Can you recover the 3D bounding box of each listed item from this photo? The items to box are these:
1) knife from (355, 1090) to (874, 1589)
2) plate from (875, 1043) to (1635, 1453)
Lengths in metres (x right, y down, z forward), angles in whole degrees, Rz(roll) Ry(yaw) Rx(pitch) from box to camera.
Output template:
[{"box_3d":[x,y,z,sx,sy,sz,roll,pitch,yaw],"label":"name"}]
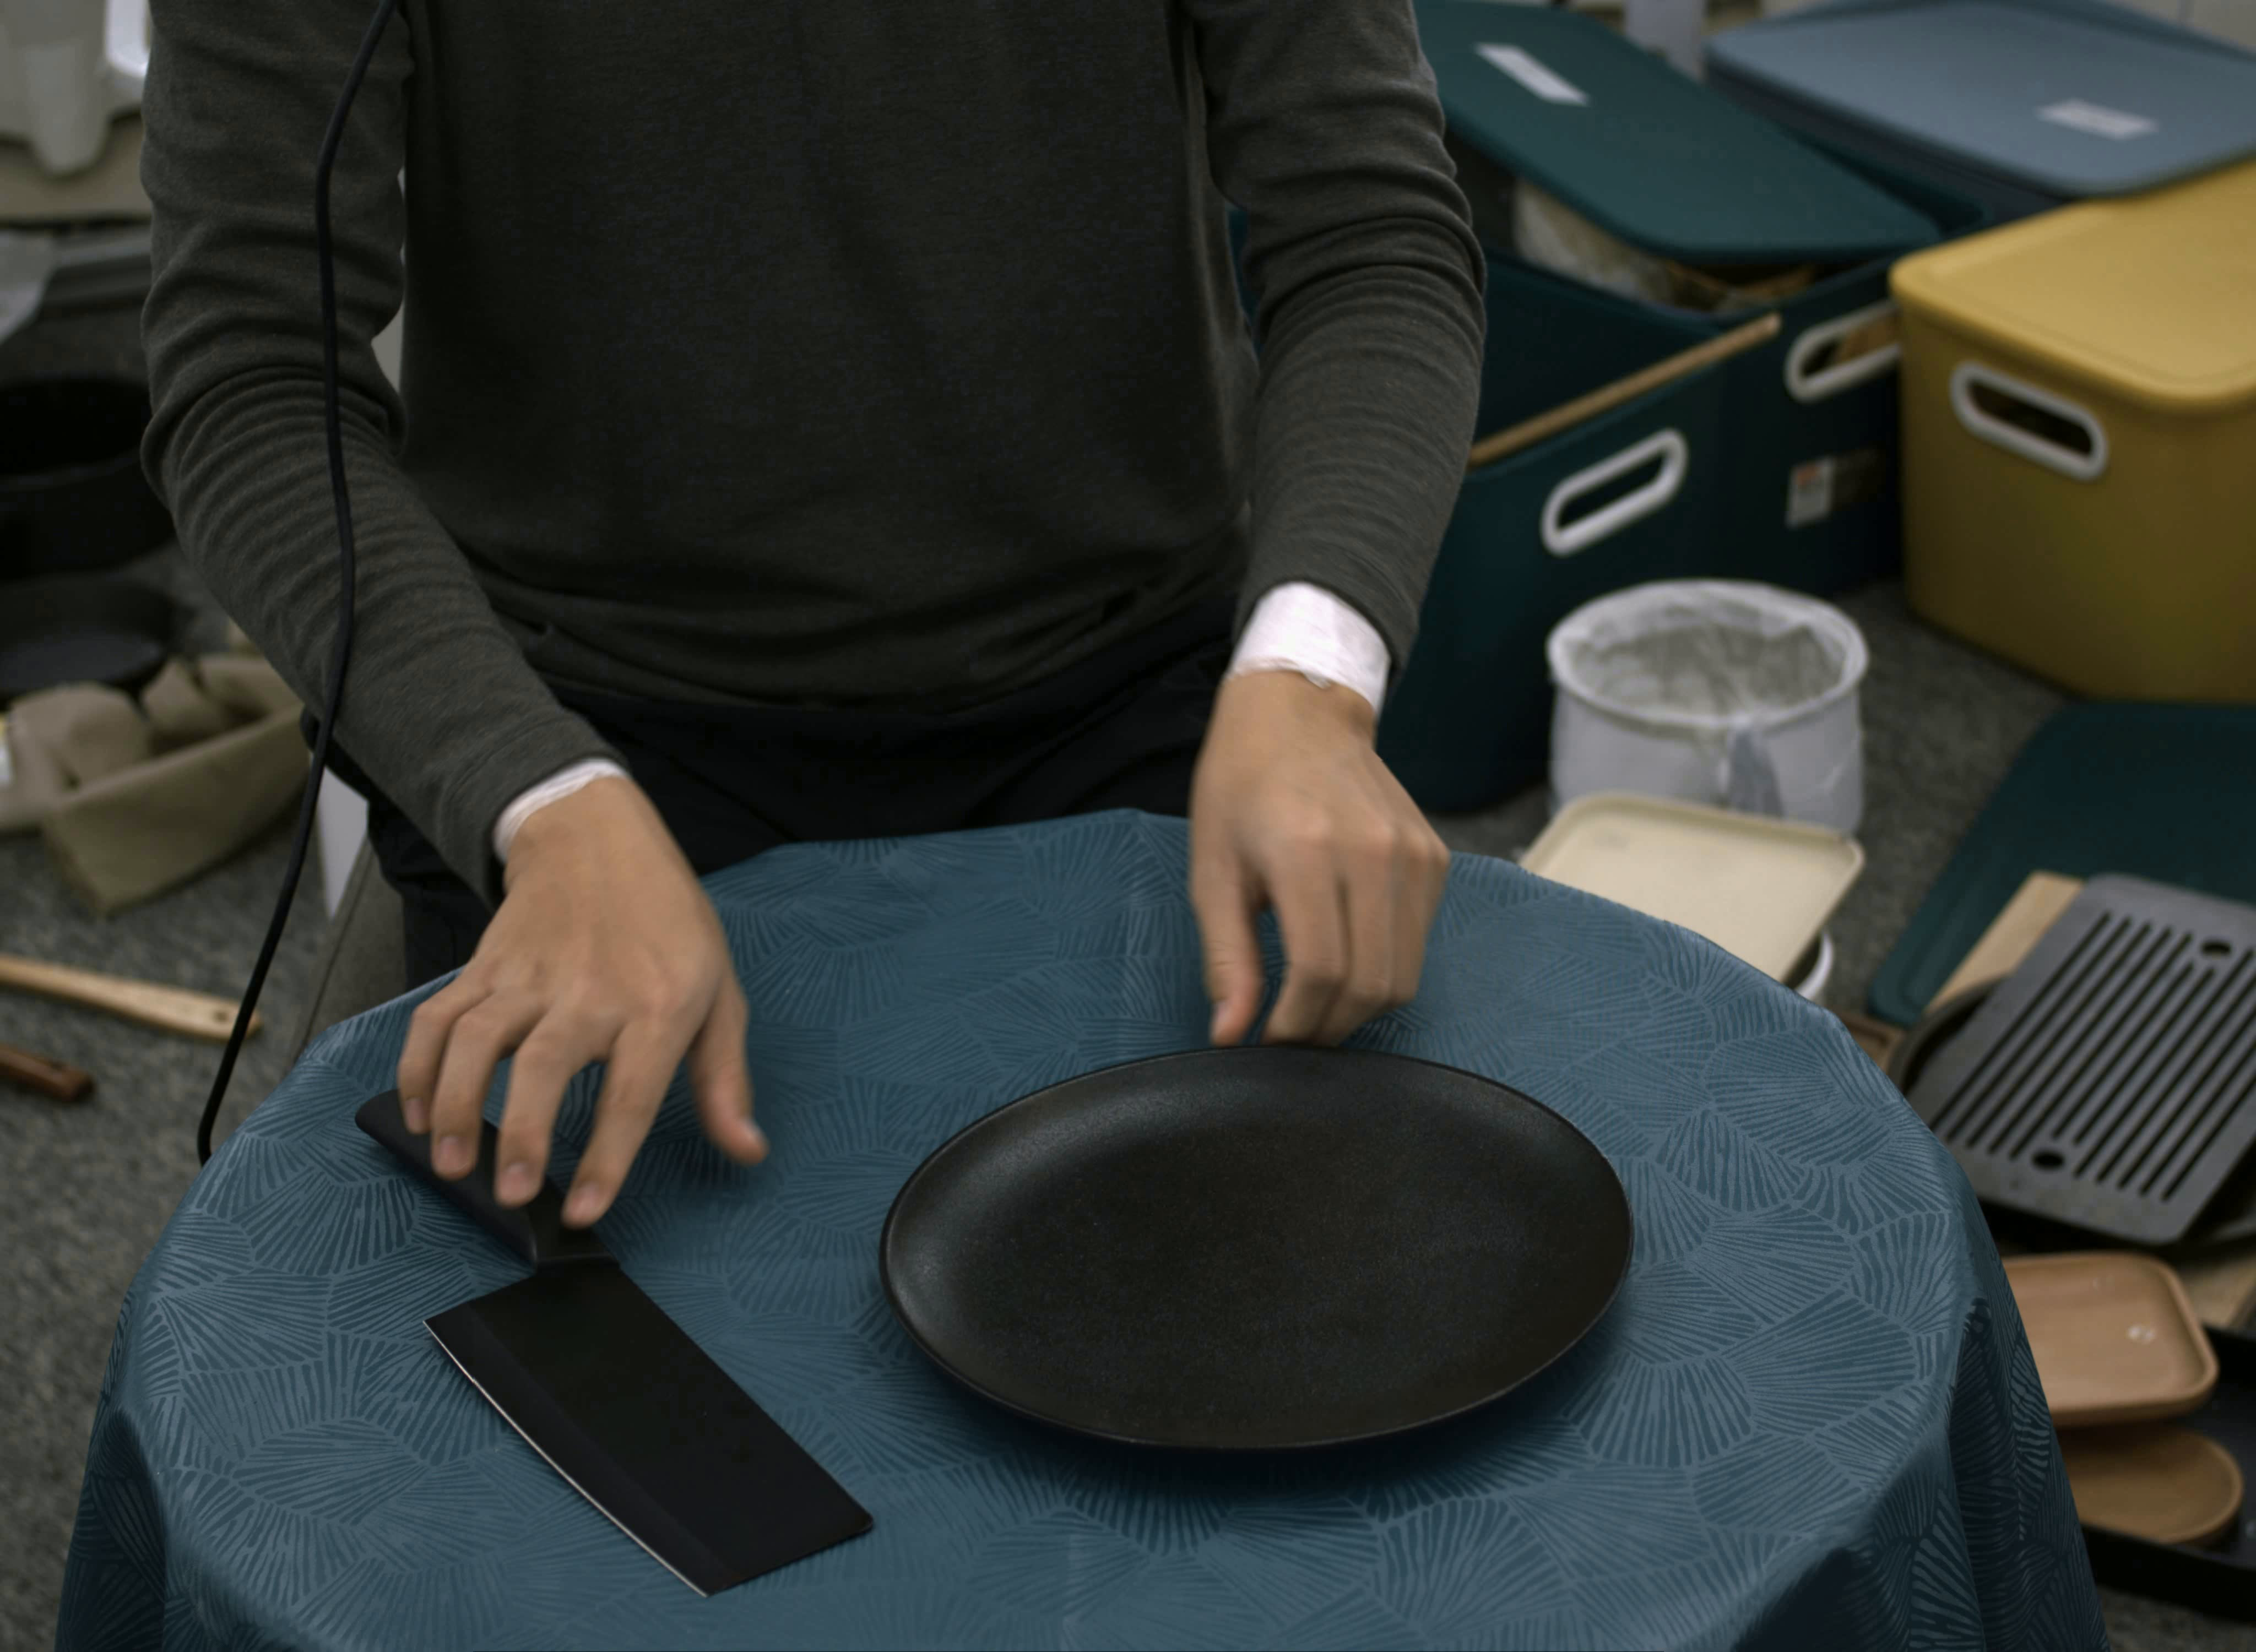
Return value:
[{"box_3d":[-0.179,0.160,1.790,0.081,0.020,0.304,-16,32,-23],"label":"knife"},{"box_3d":[0.041,0.139,1.799,0.243,0.023,0.248,-2,27,1],"label":"plate"}]
